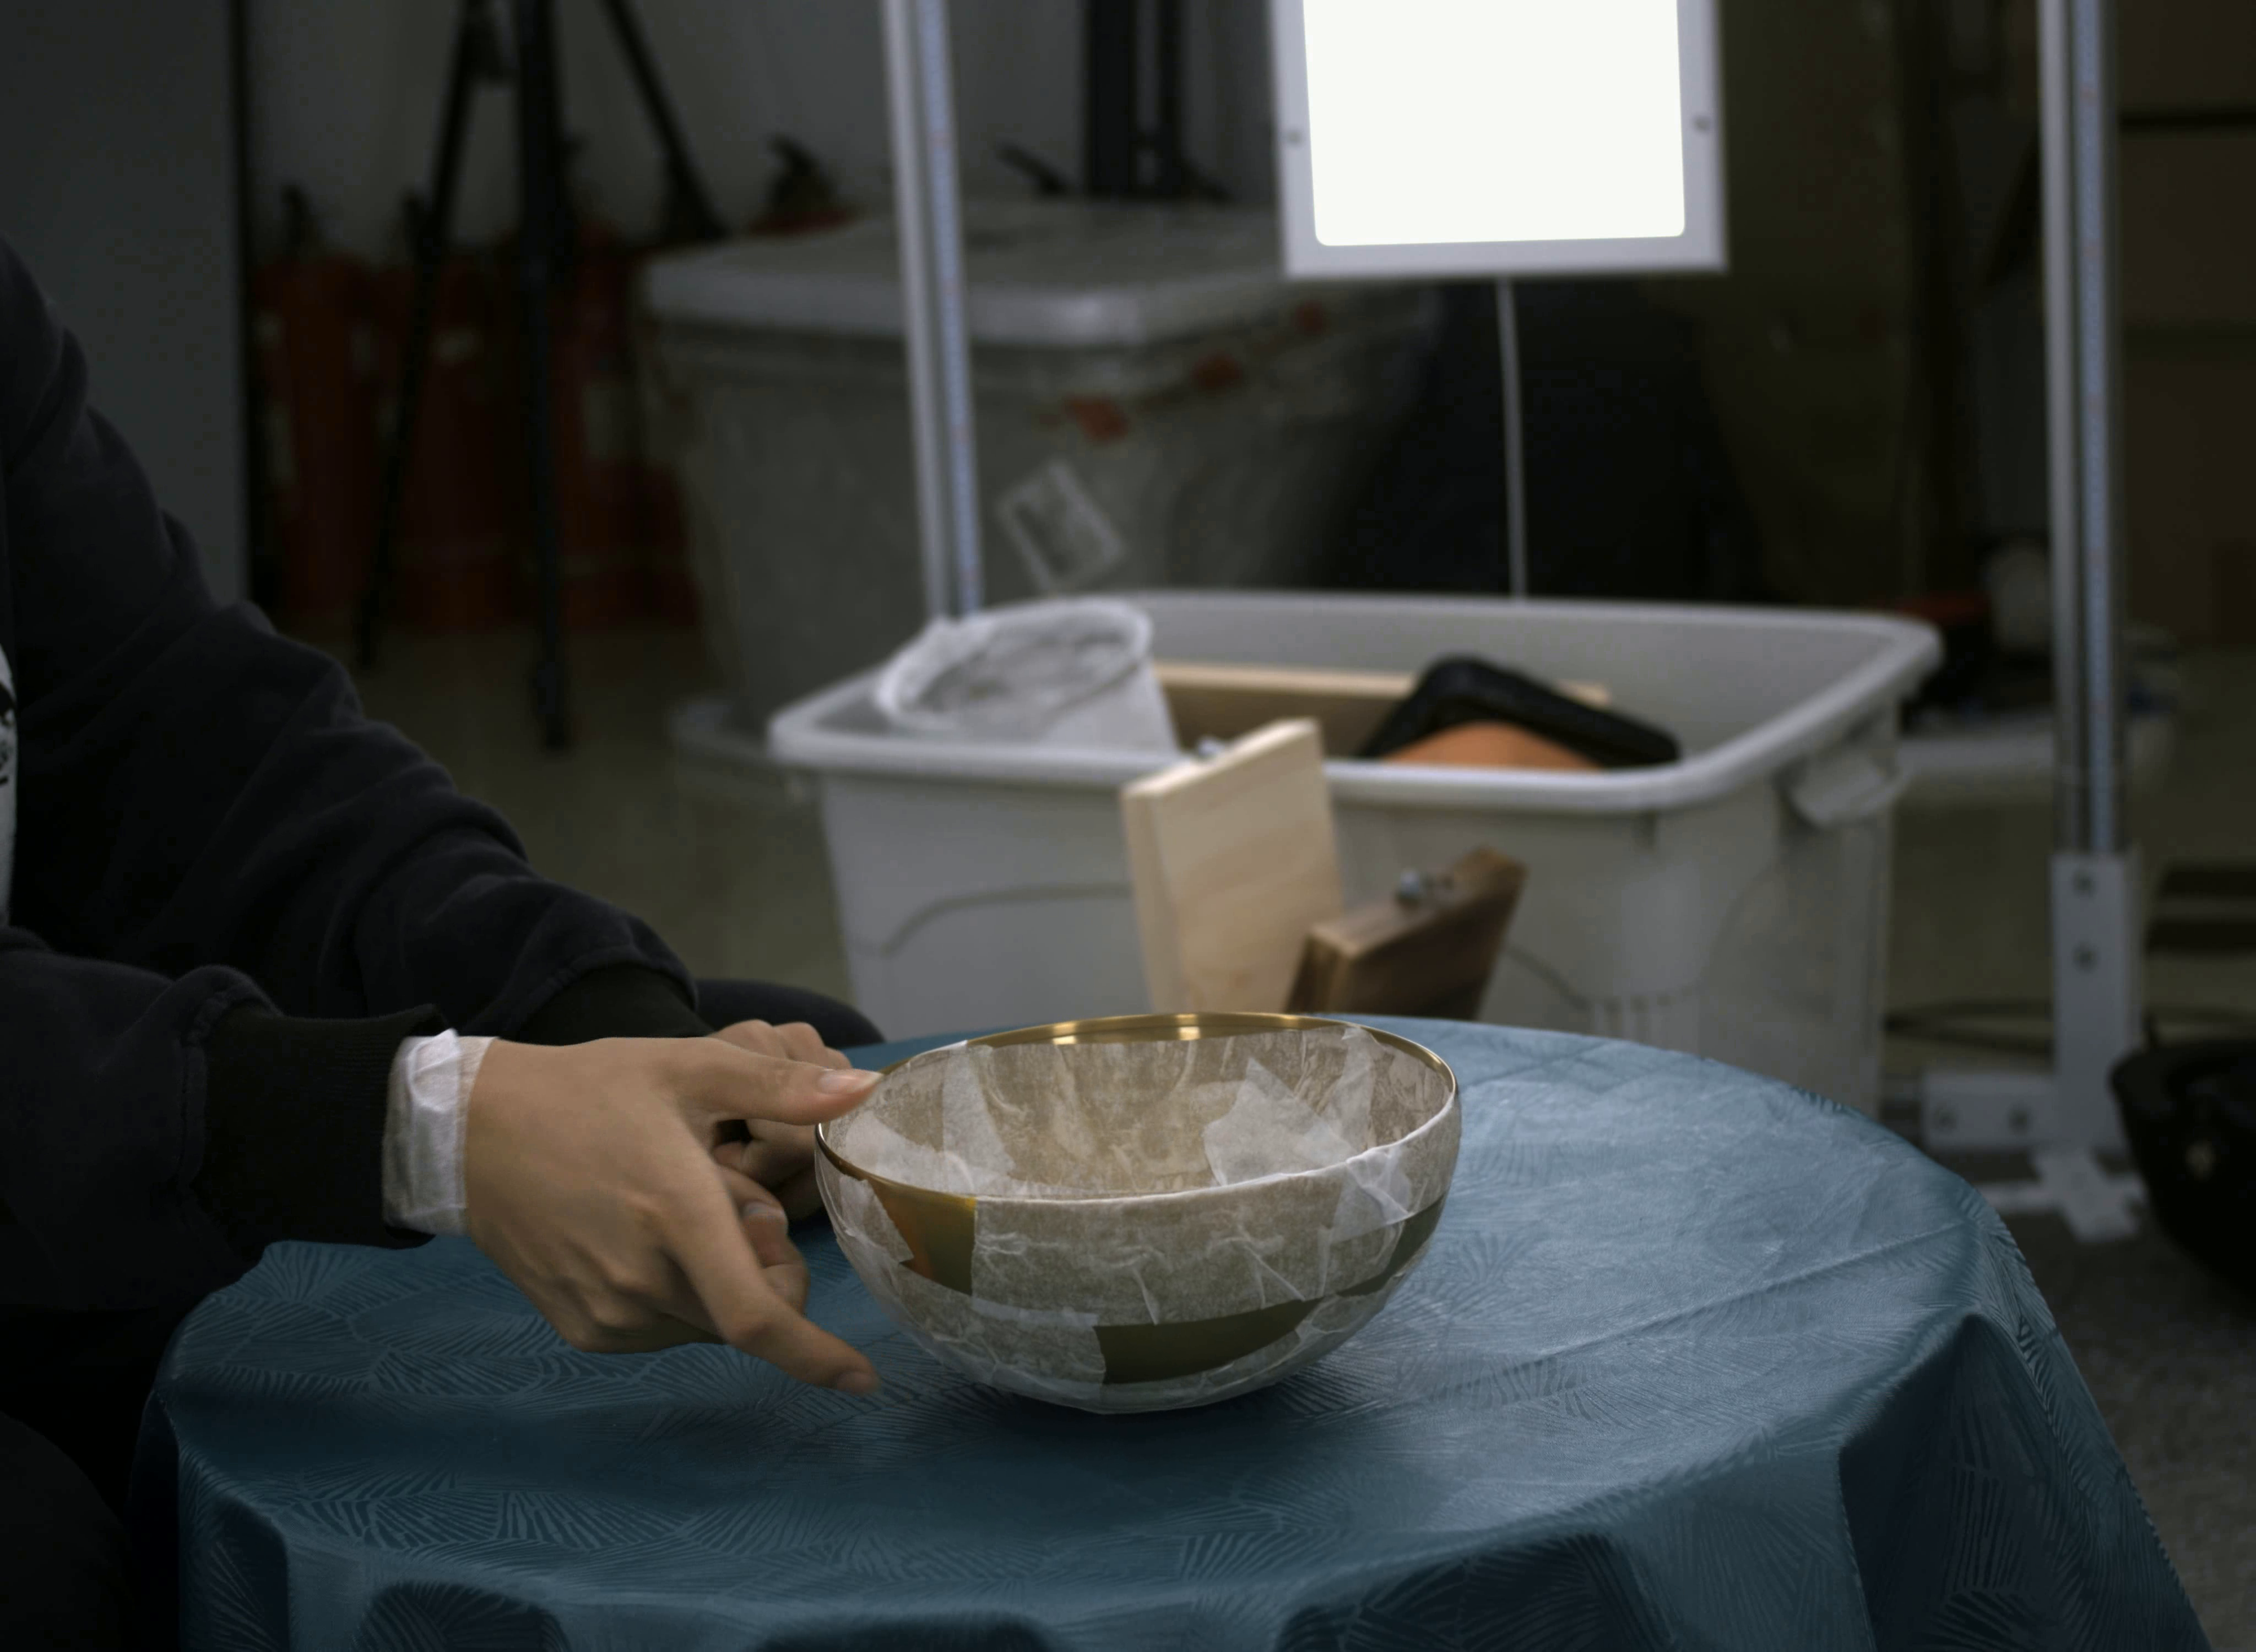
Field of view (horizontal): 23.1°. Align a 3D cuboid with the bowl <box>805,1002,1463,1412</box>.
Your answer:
[{"bbox_3d":[0.006,0.125,1.705,0.214,0.095,0.214,-6,14,0],"label":"bowl"}]

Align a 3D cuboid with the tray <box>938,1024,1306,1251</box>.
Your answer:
[{"bbox_3d":[-0.004,0.108,1.943,0.100,0.020,0.233,-10,16,-10],"label":"tray"}]
